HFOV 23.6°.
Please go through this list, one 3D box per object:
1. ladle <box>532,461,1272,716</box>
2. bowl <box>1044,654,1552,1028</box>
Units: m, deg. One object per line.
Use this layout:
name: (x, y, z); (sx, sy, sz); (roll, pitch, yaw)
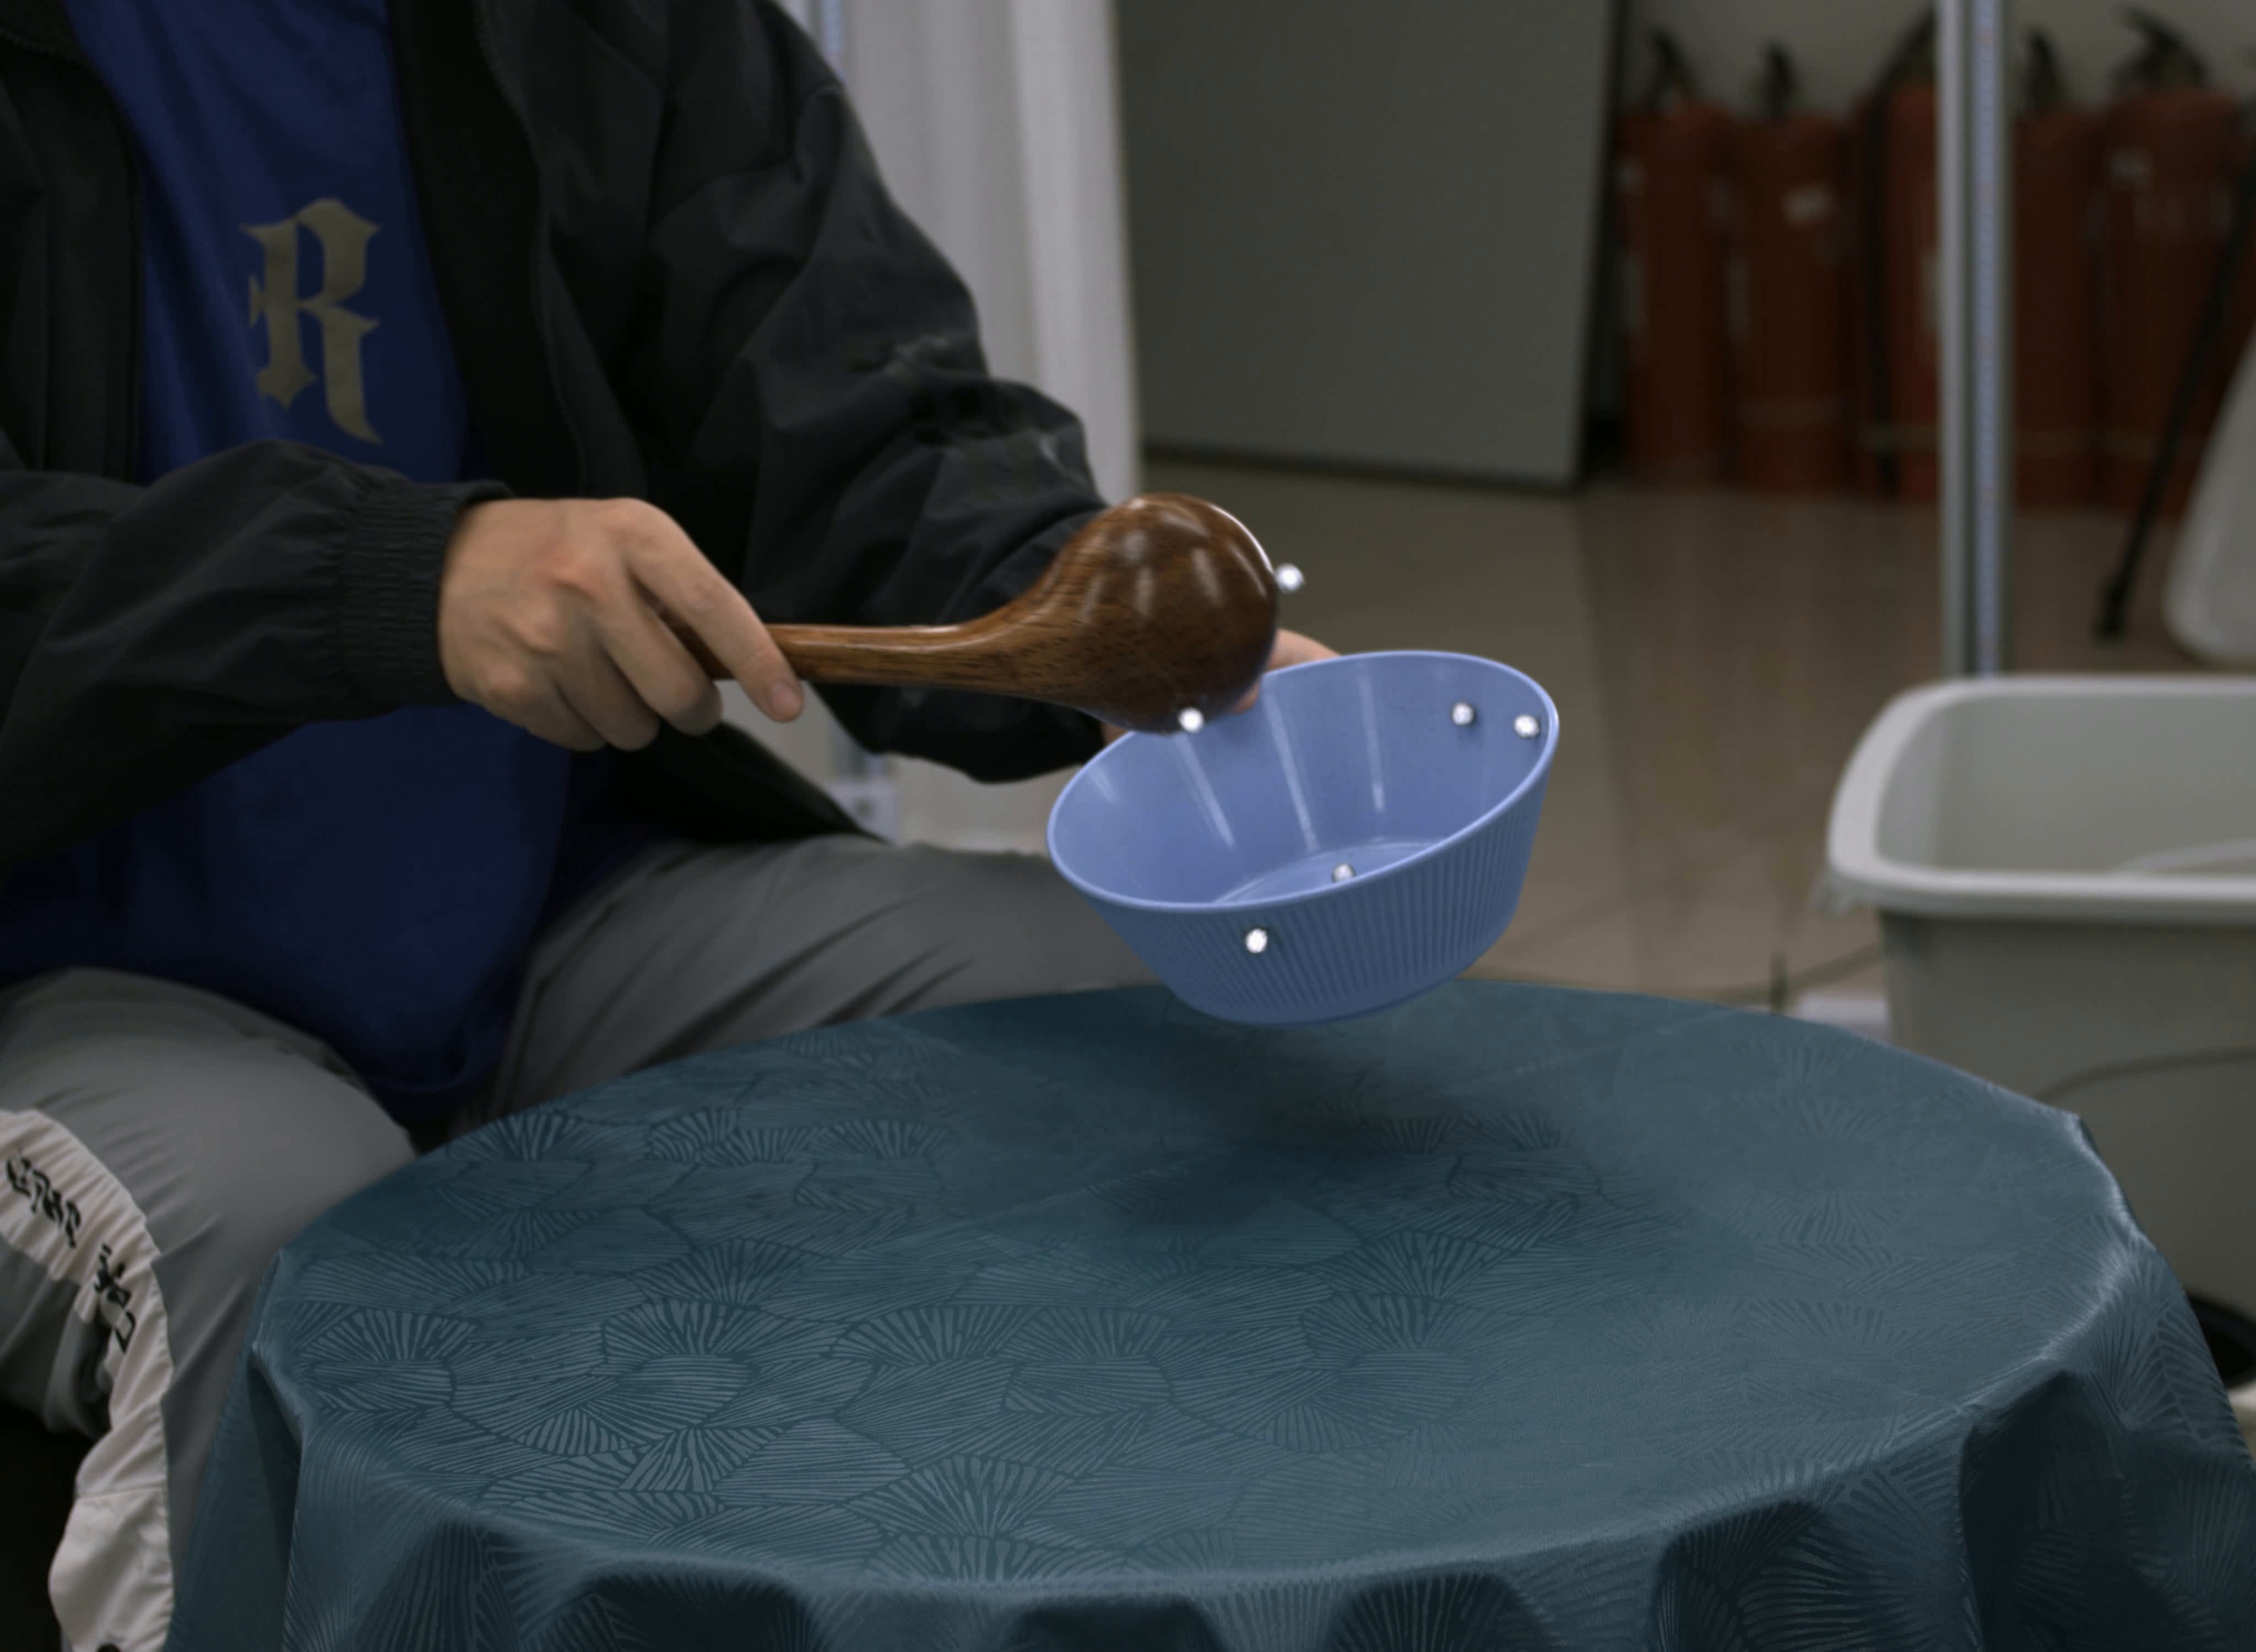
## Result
ladle: (-0.076, -0.071, 1.796); (0.276, 0.082, 0.075); (-3, 19, 38)
bowl: (0.063, 0.011, 1.797); (0.174, 0.070, 0.177); (-15, 24, 6)
